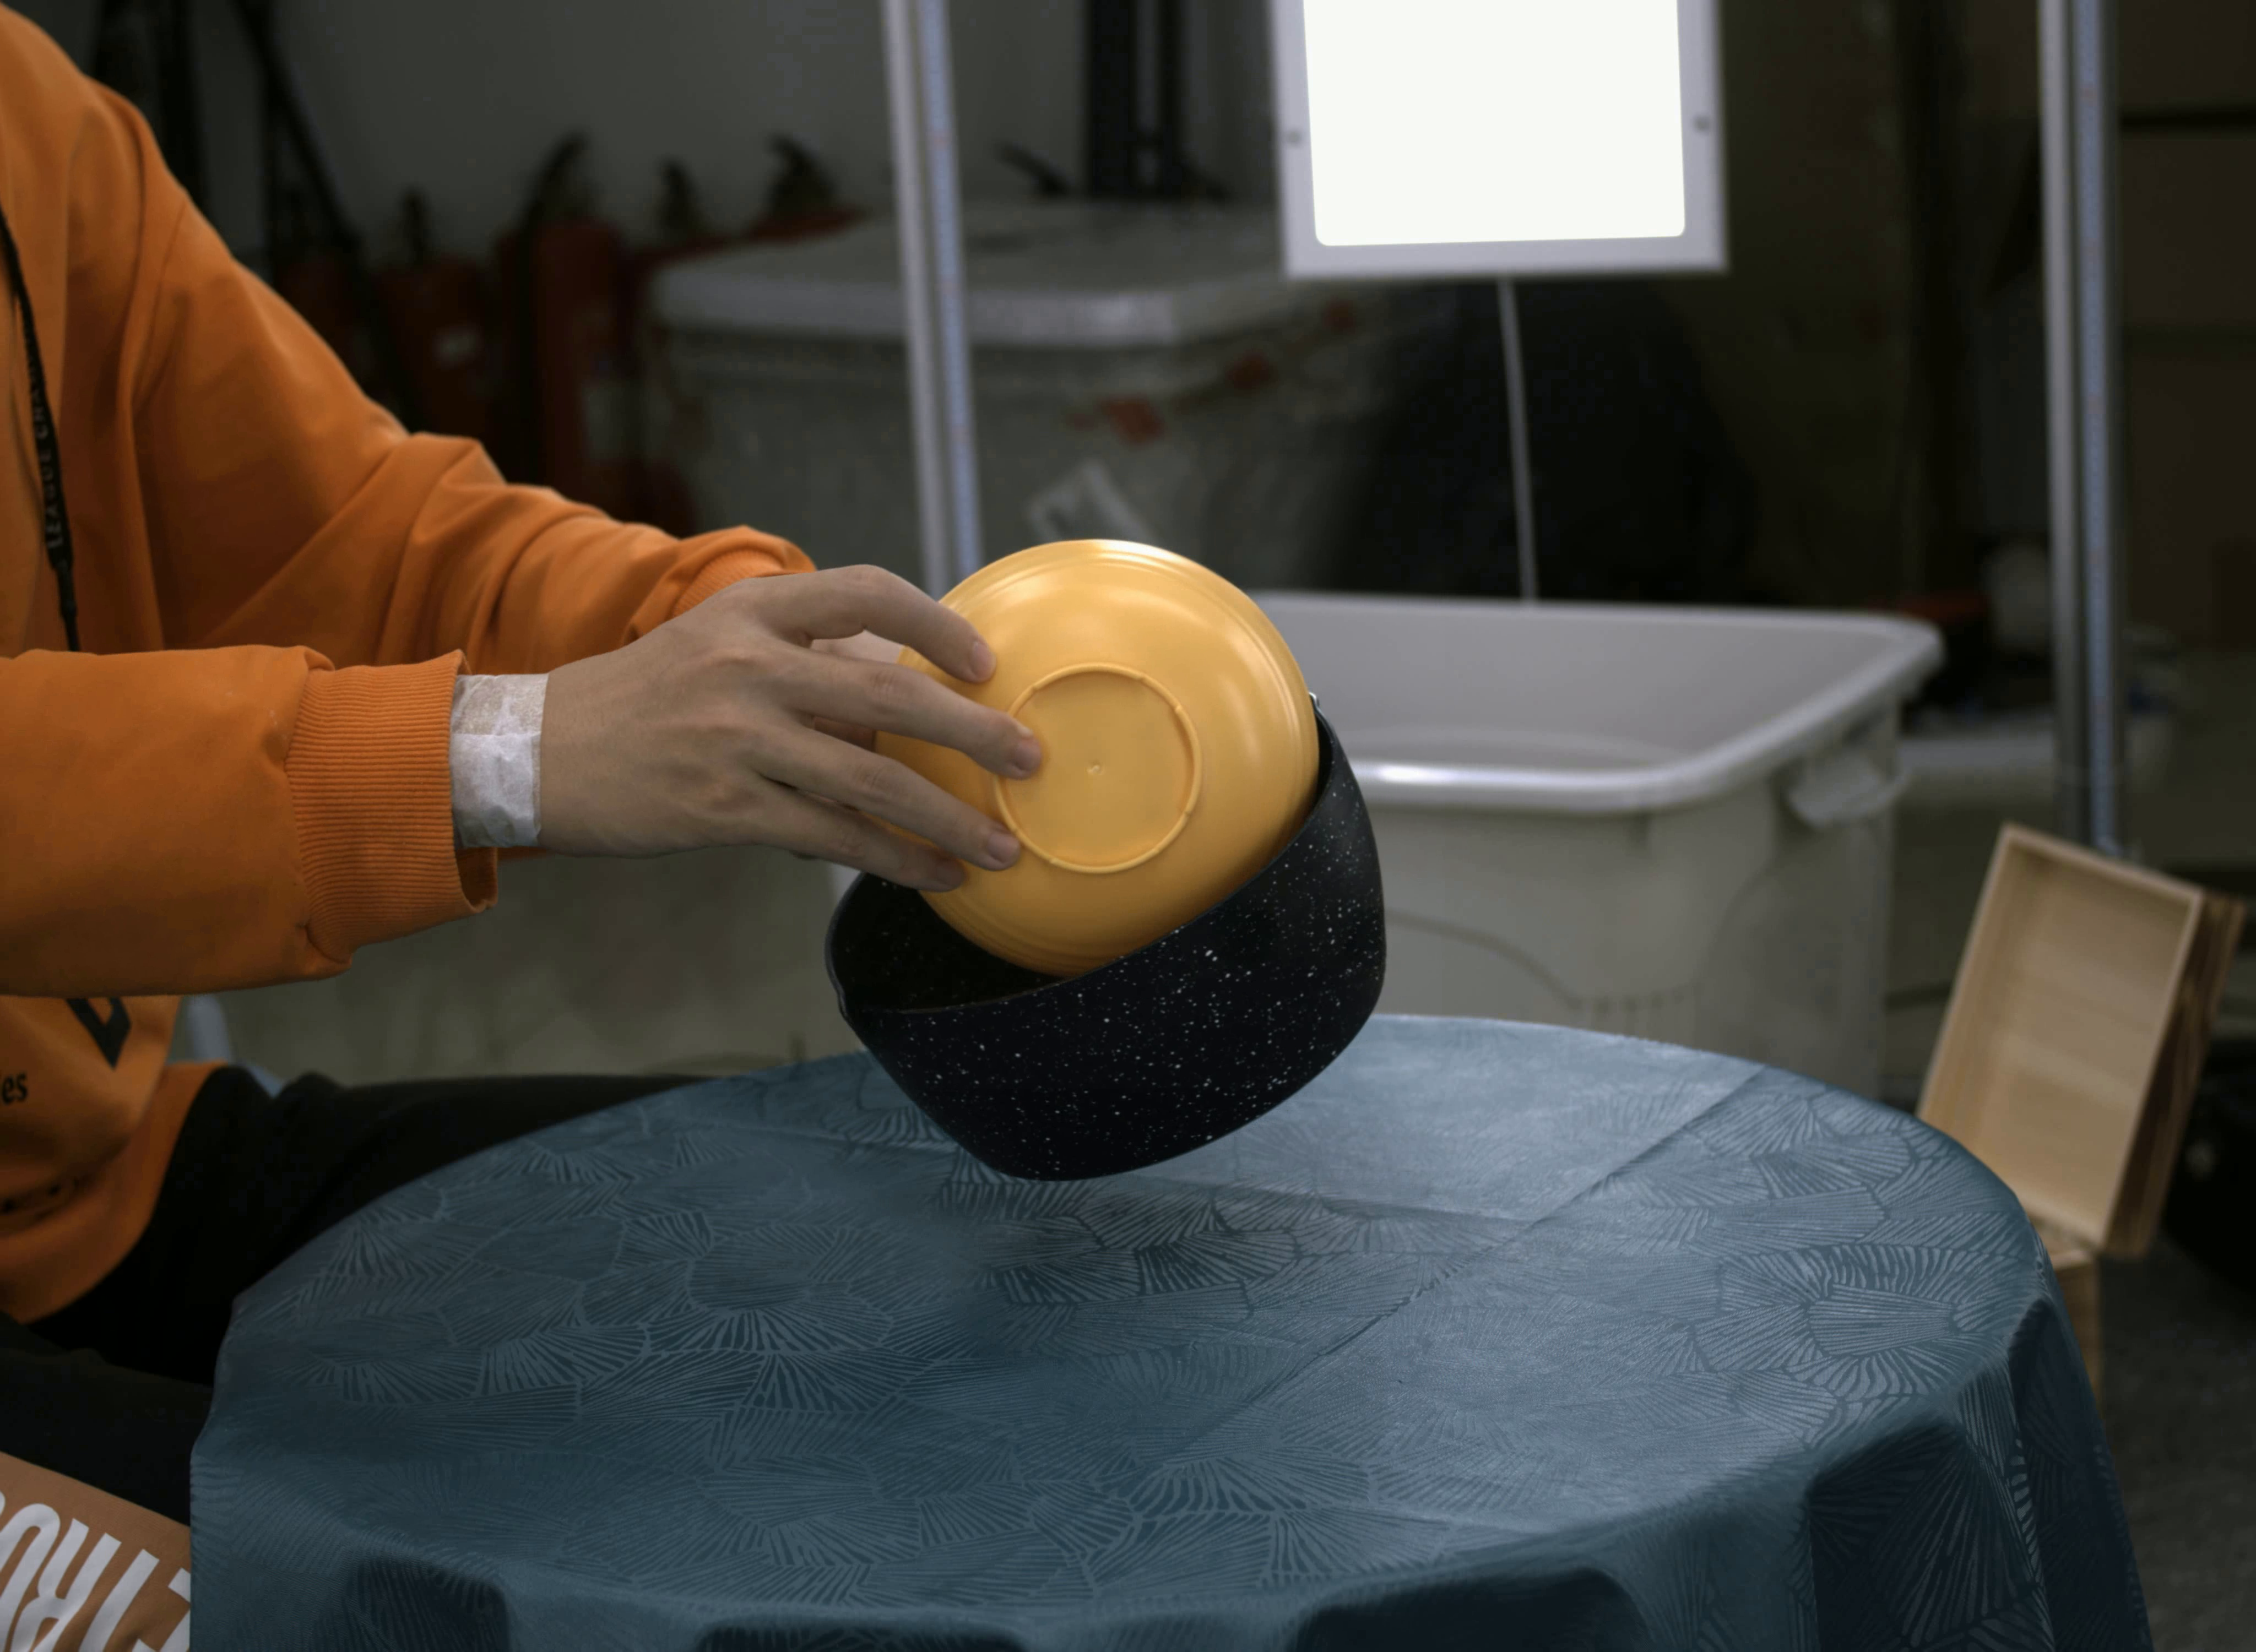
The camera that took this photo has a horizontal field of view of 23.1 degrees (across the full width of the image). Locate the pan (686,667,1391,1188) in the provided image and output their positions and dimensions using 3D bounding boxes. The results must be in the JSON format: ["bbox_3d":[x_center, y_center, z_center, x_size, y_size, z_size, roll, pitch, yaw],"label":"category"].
[{"bbox_3d":[-0.047,0.019,1.883,0.204,0.108,0.349,-38,28,-22],"label":"pan"}]

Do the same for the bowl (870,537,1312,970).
[{"bbox_3d":[-0.012,-0.019,1.759,0.145,0.146,0.060,-4,8,3],"label":"bowl"}]
